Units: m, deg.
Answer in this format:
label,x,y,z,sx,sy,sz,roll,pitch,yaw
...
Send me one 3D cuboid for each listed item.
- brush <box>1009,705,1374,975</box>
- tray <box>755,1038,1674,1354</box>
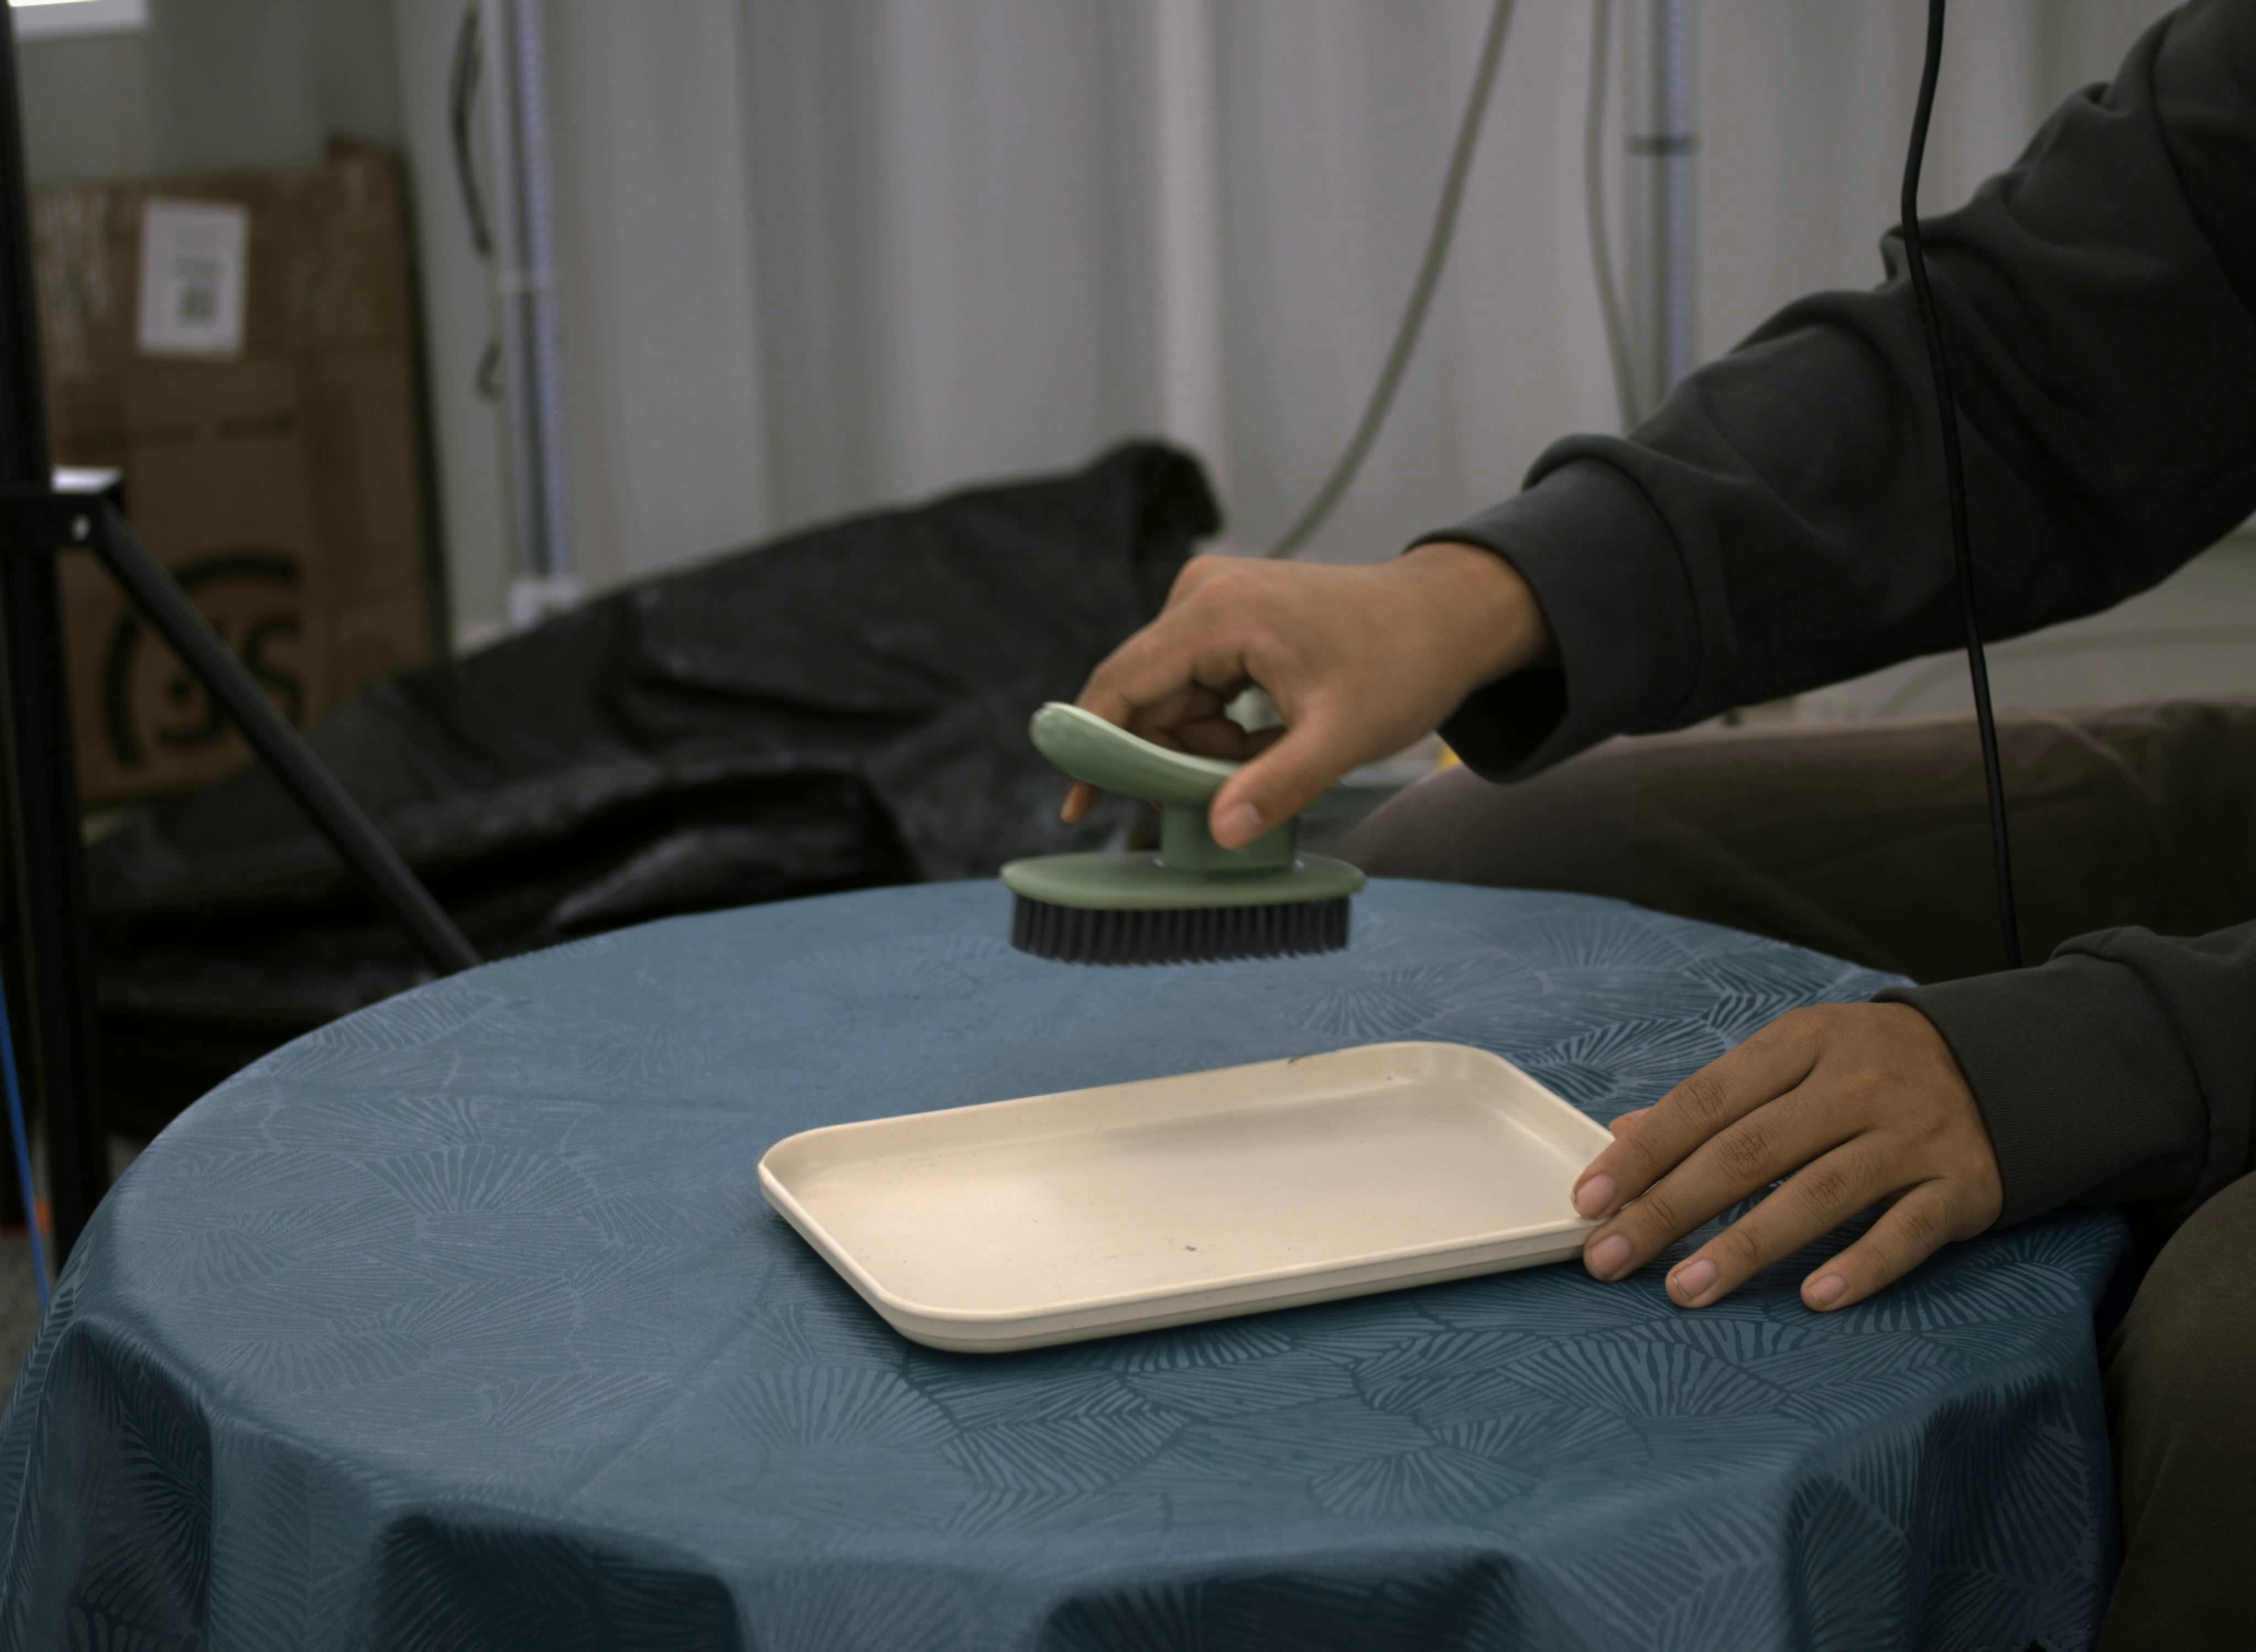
label,x,y,z,sx,sy,sz,roll,pitch,yaw
brush,0.019,0.012,1.599,0.120,0.076,0.061,14,3,-35
tray,0.024,0.106,1.527,0.235,0.017,0.174,-8,17,-18
